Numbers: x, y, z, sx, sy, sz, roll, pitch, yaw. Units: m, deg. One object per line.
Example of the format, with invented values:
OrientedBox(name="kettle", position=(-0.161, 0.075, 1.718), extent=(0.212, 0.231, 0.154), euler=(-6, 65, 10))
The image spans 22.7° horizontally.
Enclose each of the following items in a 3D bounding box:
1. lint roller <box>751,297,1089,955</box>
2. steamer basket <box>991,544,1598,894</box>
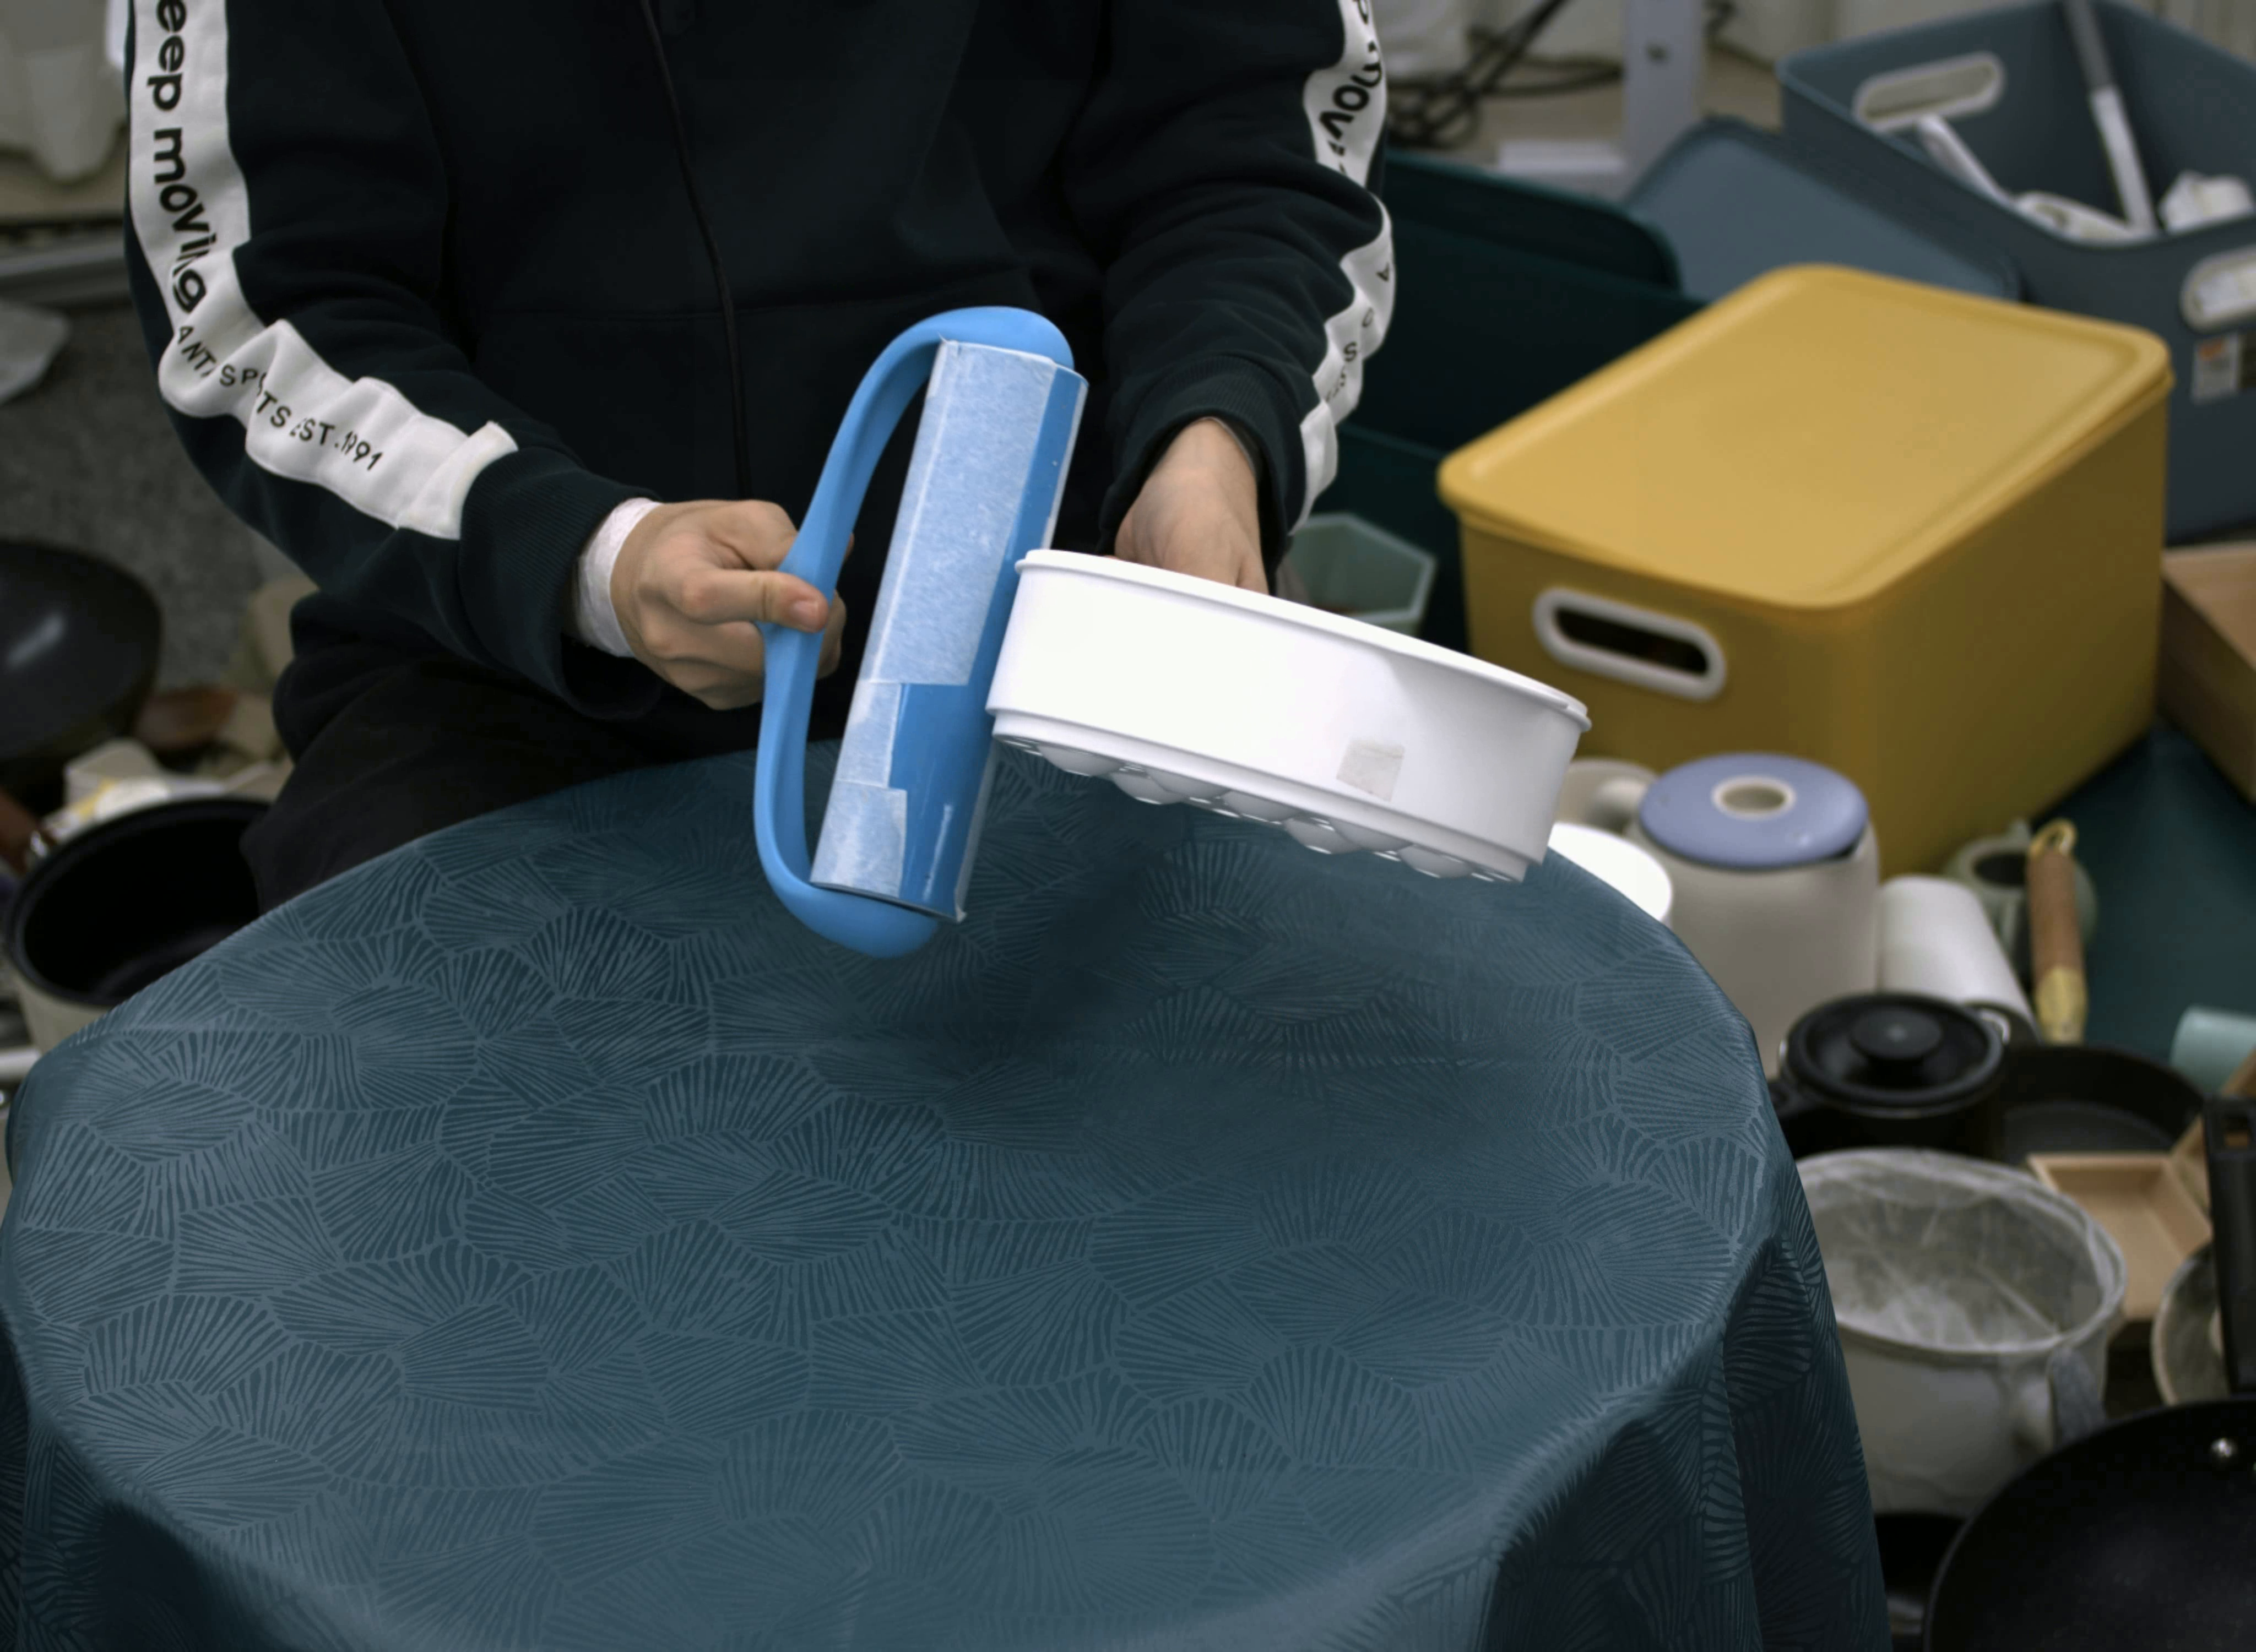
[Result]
OrientedBox(name="lint roller", position=(-0.095, -0.068, 1.966), extent=(0.068, 0.231, 0.178), euler=(16, -11, -36))
OrientedBox(name="steamer basket", position=(0.053, -0.032, 1.876), extent=(0.201, 0.070, 0.229), euler=(20, -6, -36))
